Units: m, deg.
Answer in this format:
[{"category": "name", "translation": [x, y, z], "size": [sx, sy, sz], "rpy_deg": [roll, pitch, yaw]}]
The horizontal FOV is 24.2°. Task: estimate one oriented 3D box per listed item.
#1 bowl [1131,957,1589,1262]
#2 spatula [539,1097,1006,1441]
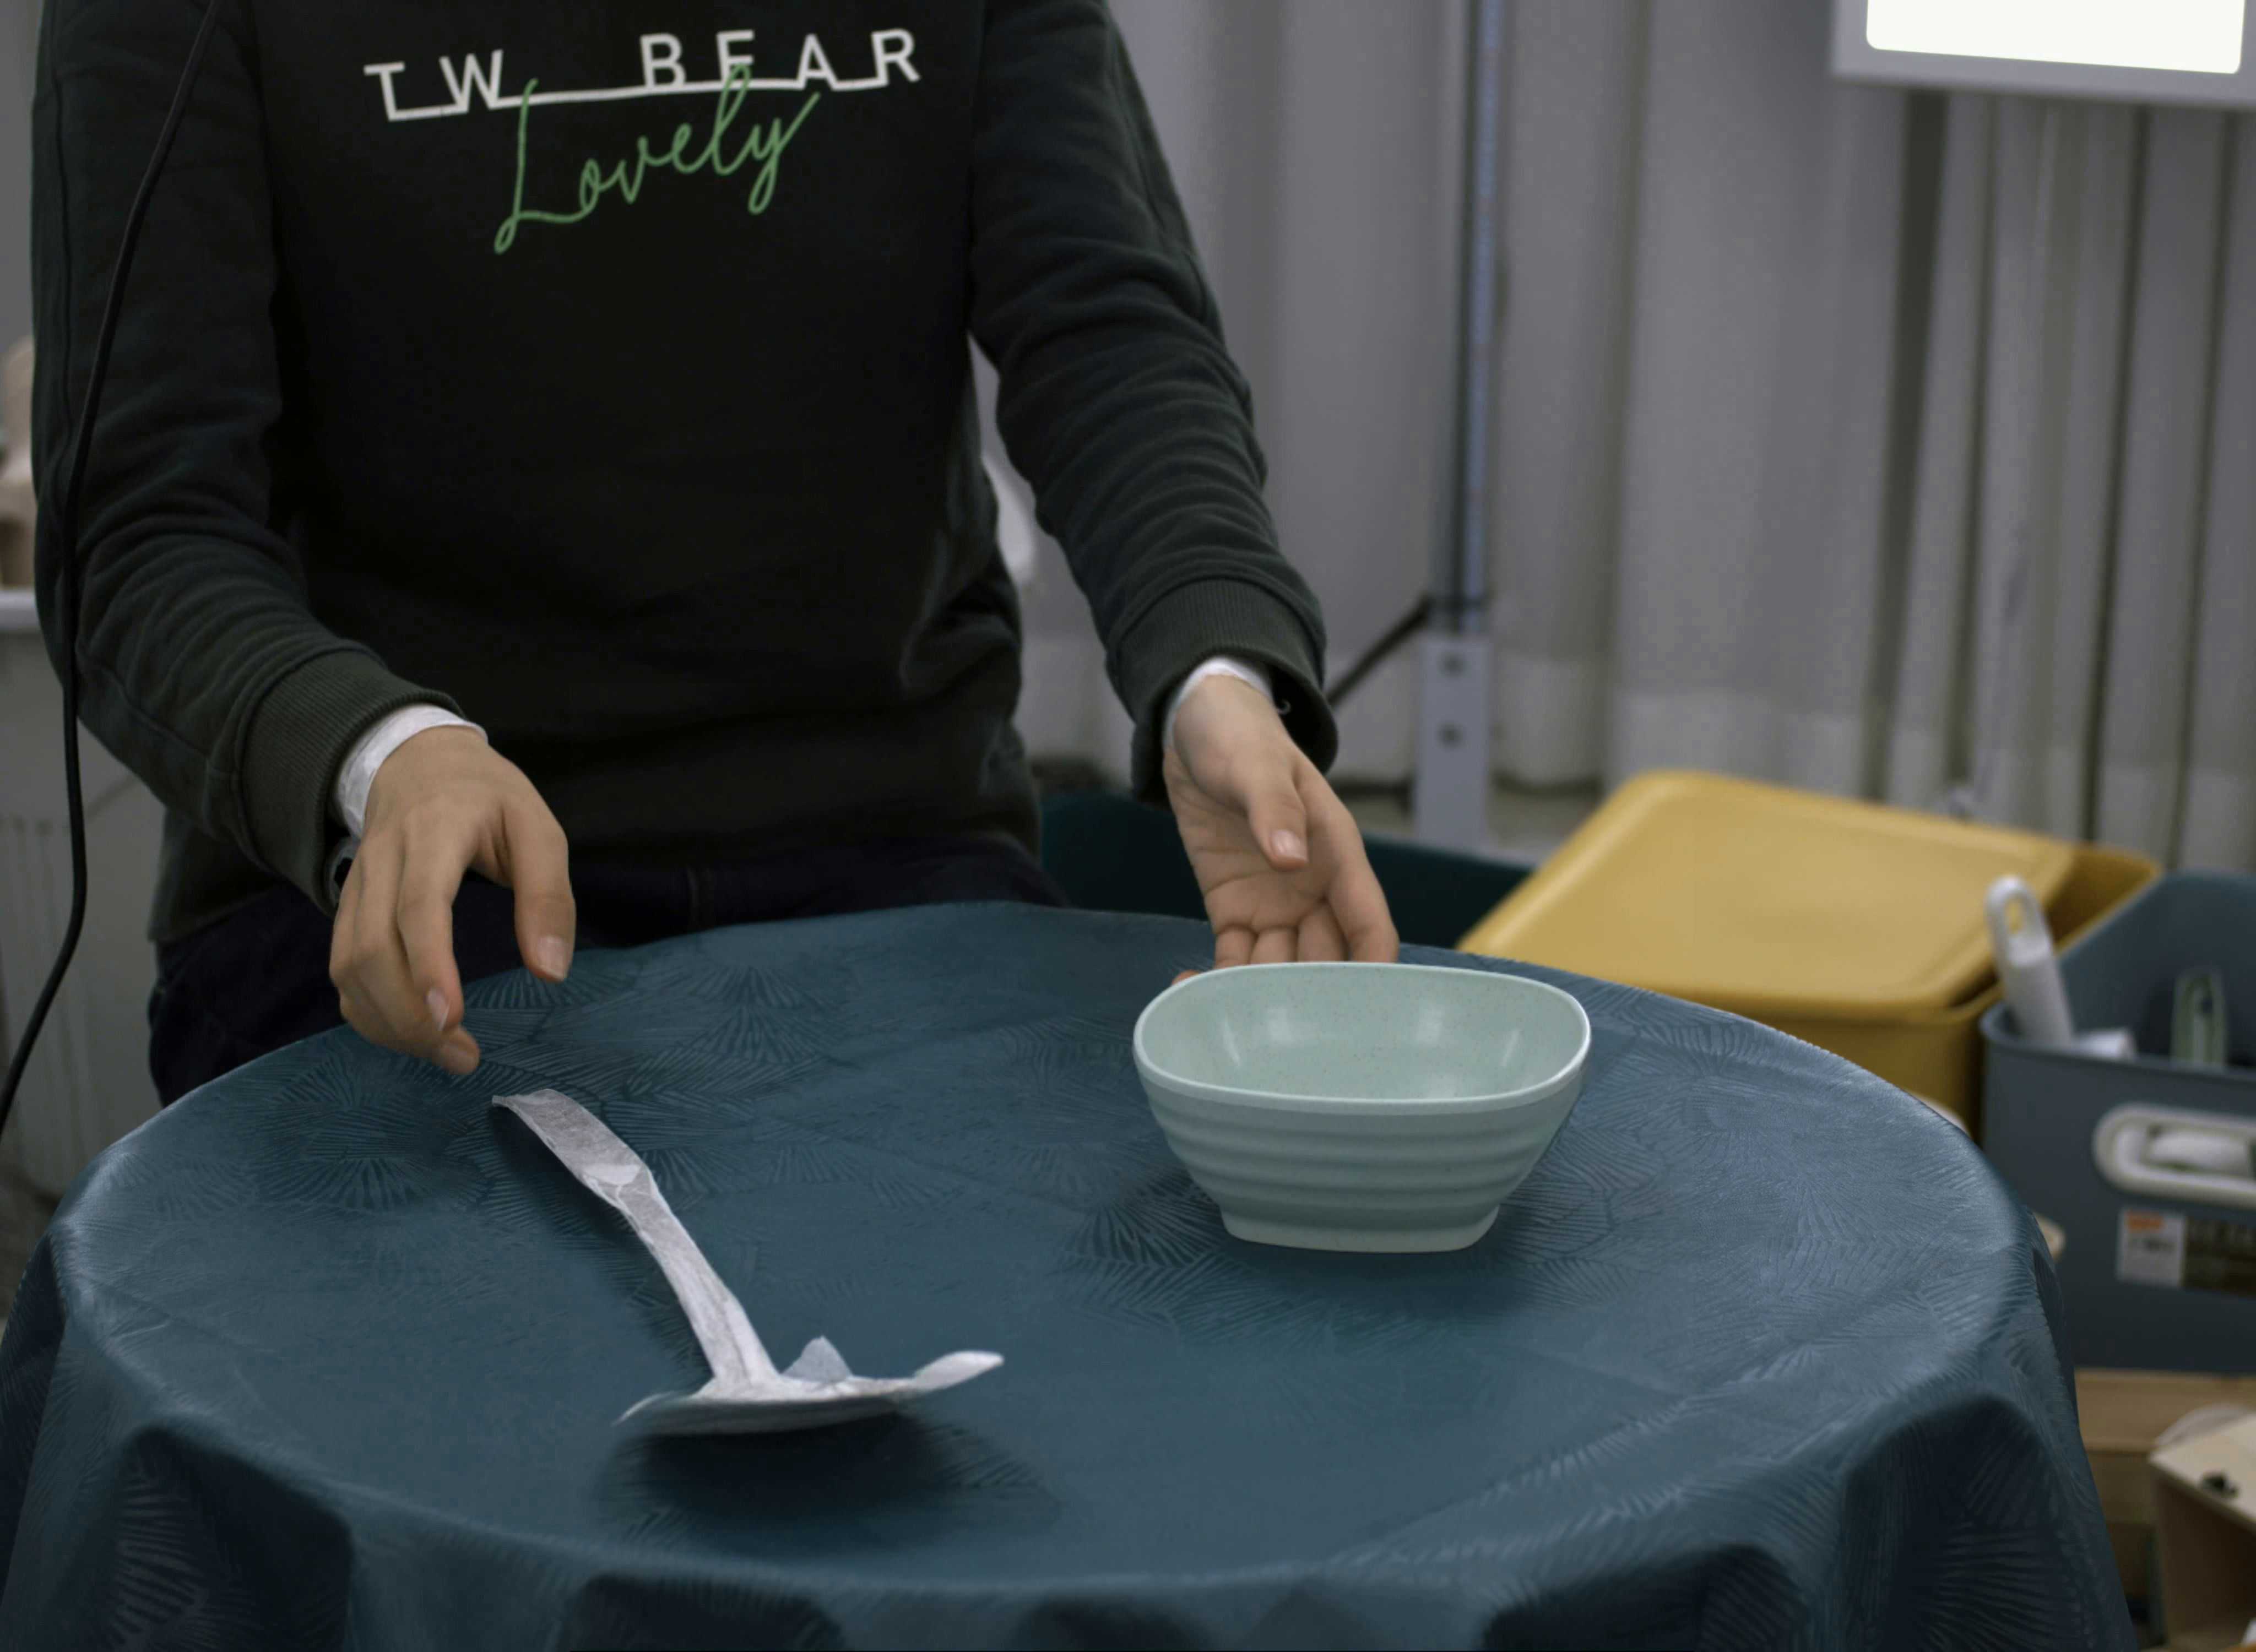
[{"category": "bowl", "translation": [0.070, 0.090, 1.609], "size": [0.151, 0.059, 0.150], "rpy_deg": [2, 18, 0]}, {"category": "spatula", "translation": [-0.128, 0.119, 1.528], "size": [0.099, 0.045, 0.361], "rpy_deg": [-6, 17, -18]}]
